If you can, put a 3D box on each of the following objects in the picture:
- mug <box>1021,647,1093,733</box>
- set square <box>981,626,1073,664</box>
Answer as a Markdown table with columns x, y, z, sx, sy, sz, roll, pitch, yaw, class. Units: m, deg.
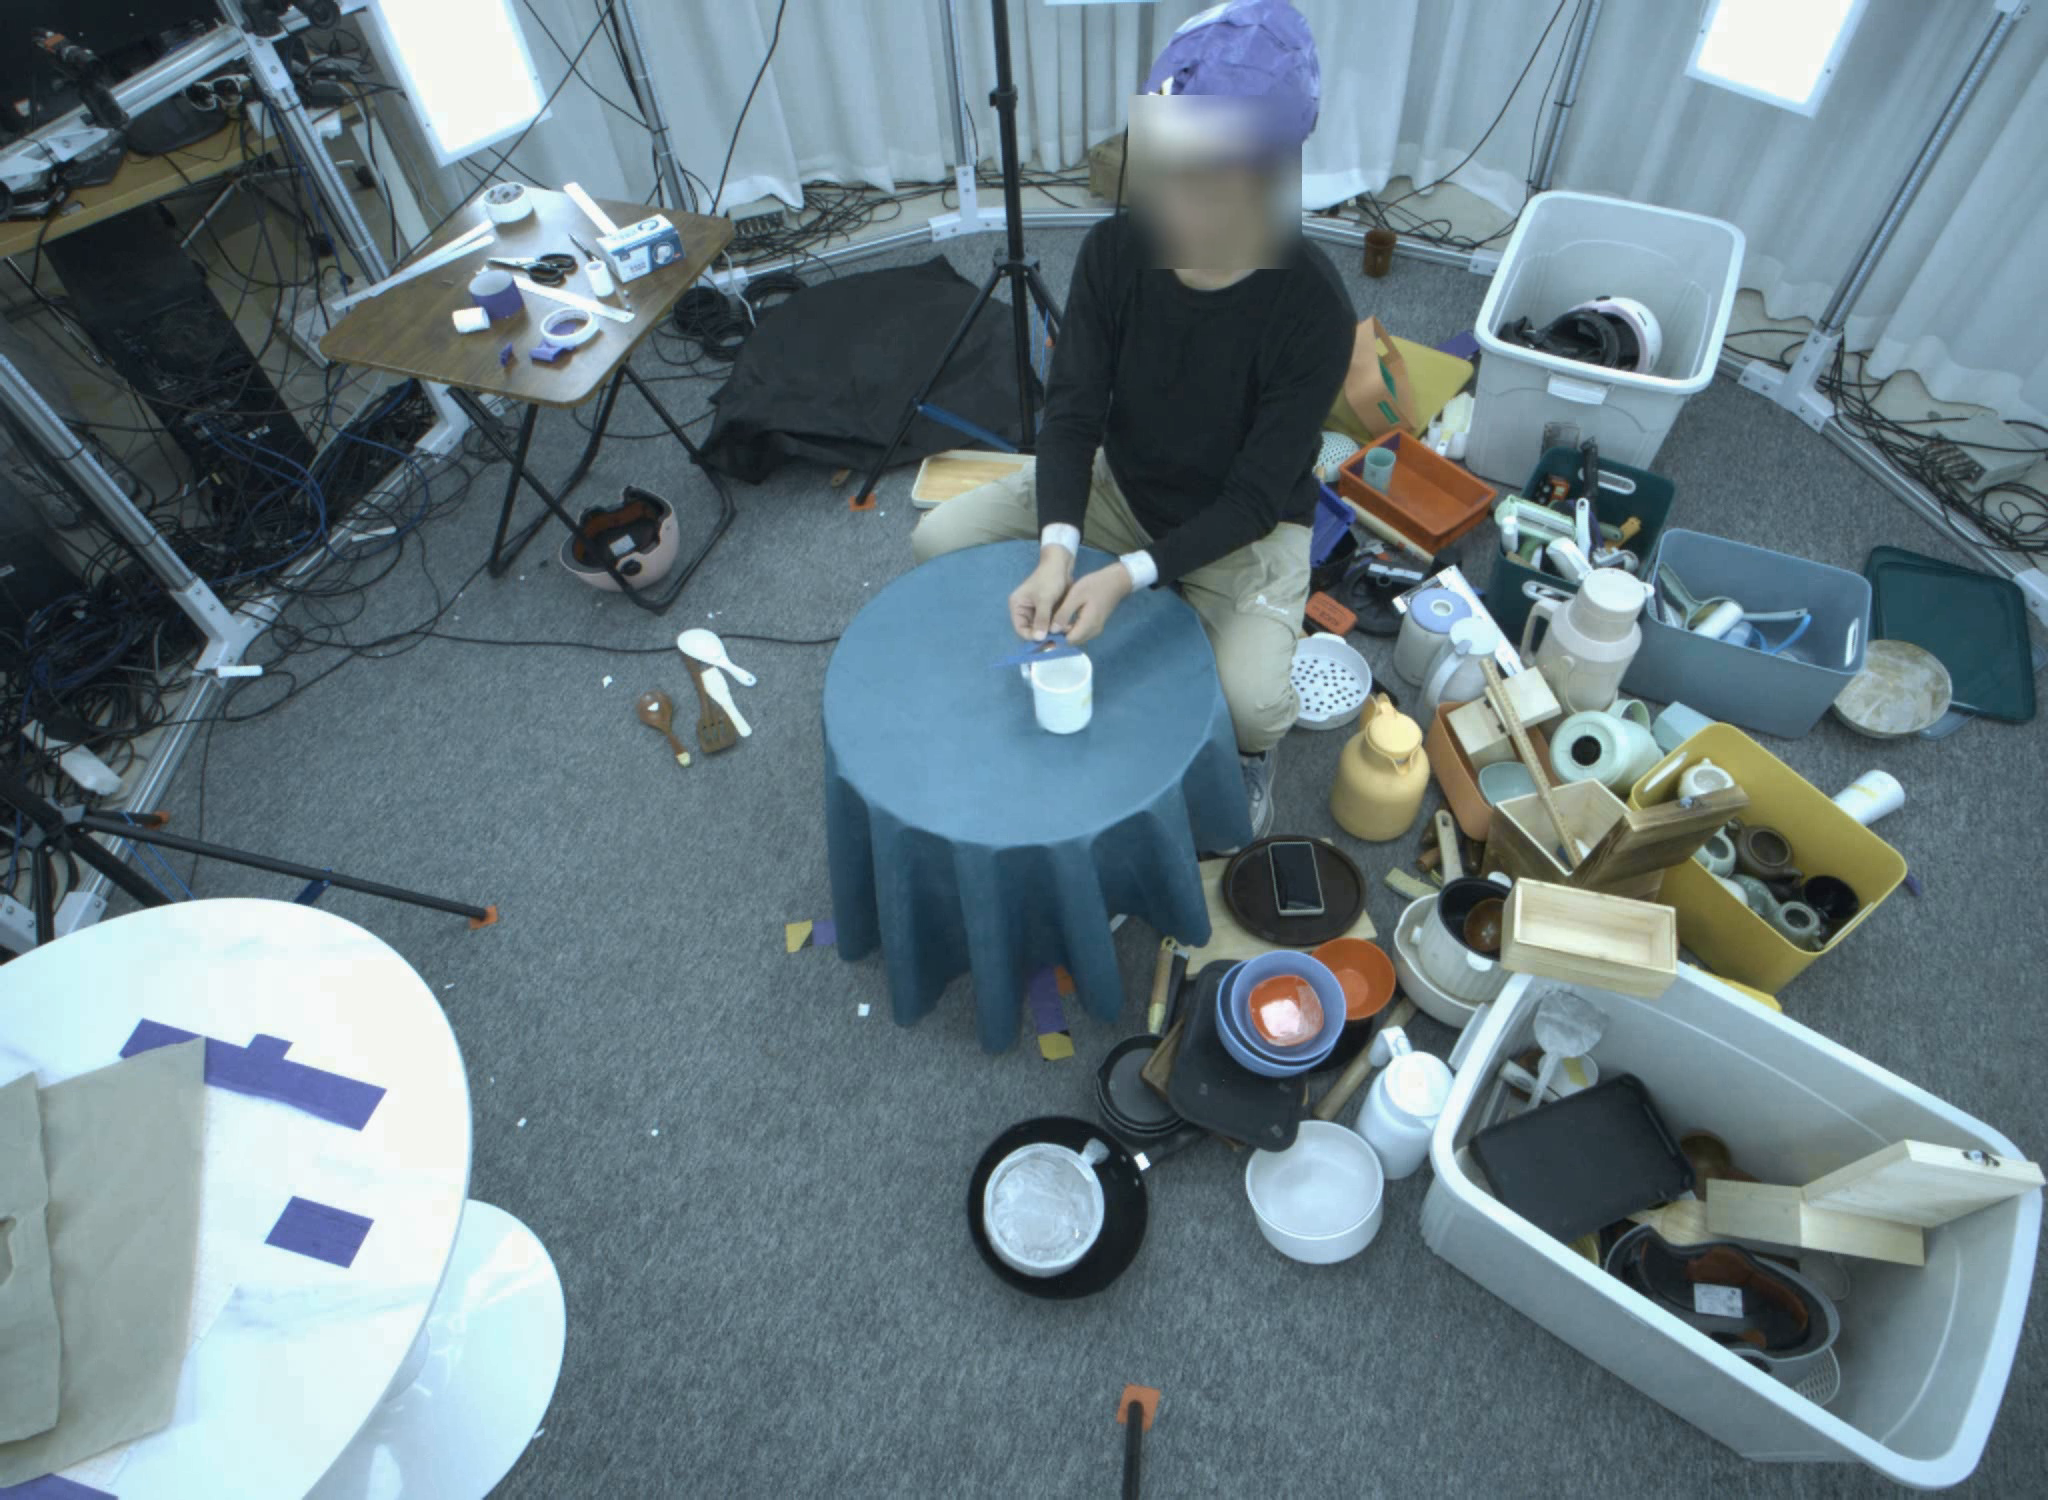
| x | y | z | sx | sy | sz | roll | pitch | yaw | class |
| --- | --- | --- | --- | --- | --- | --- | --- | --- | --- |
| 0.045 | -0.093 | 1.789 | 0.116 | 0.103 | 0.085 | 33 | 63 | 23 | mug |
| 0.003 | -0.153 | 1.771 | 0.132 | 0.006 | 0.060 | -6 | 55 | 3 | set square |
